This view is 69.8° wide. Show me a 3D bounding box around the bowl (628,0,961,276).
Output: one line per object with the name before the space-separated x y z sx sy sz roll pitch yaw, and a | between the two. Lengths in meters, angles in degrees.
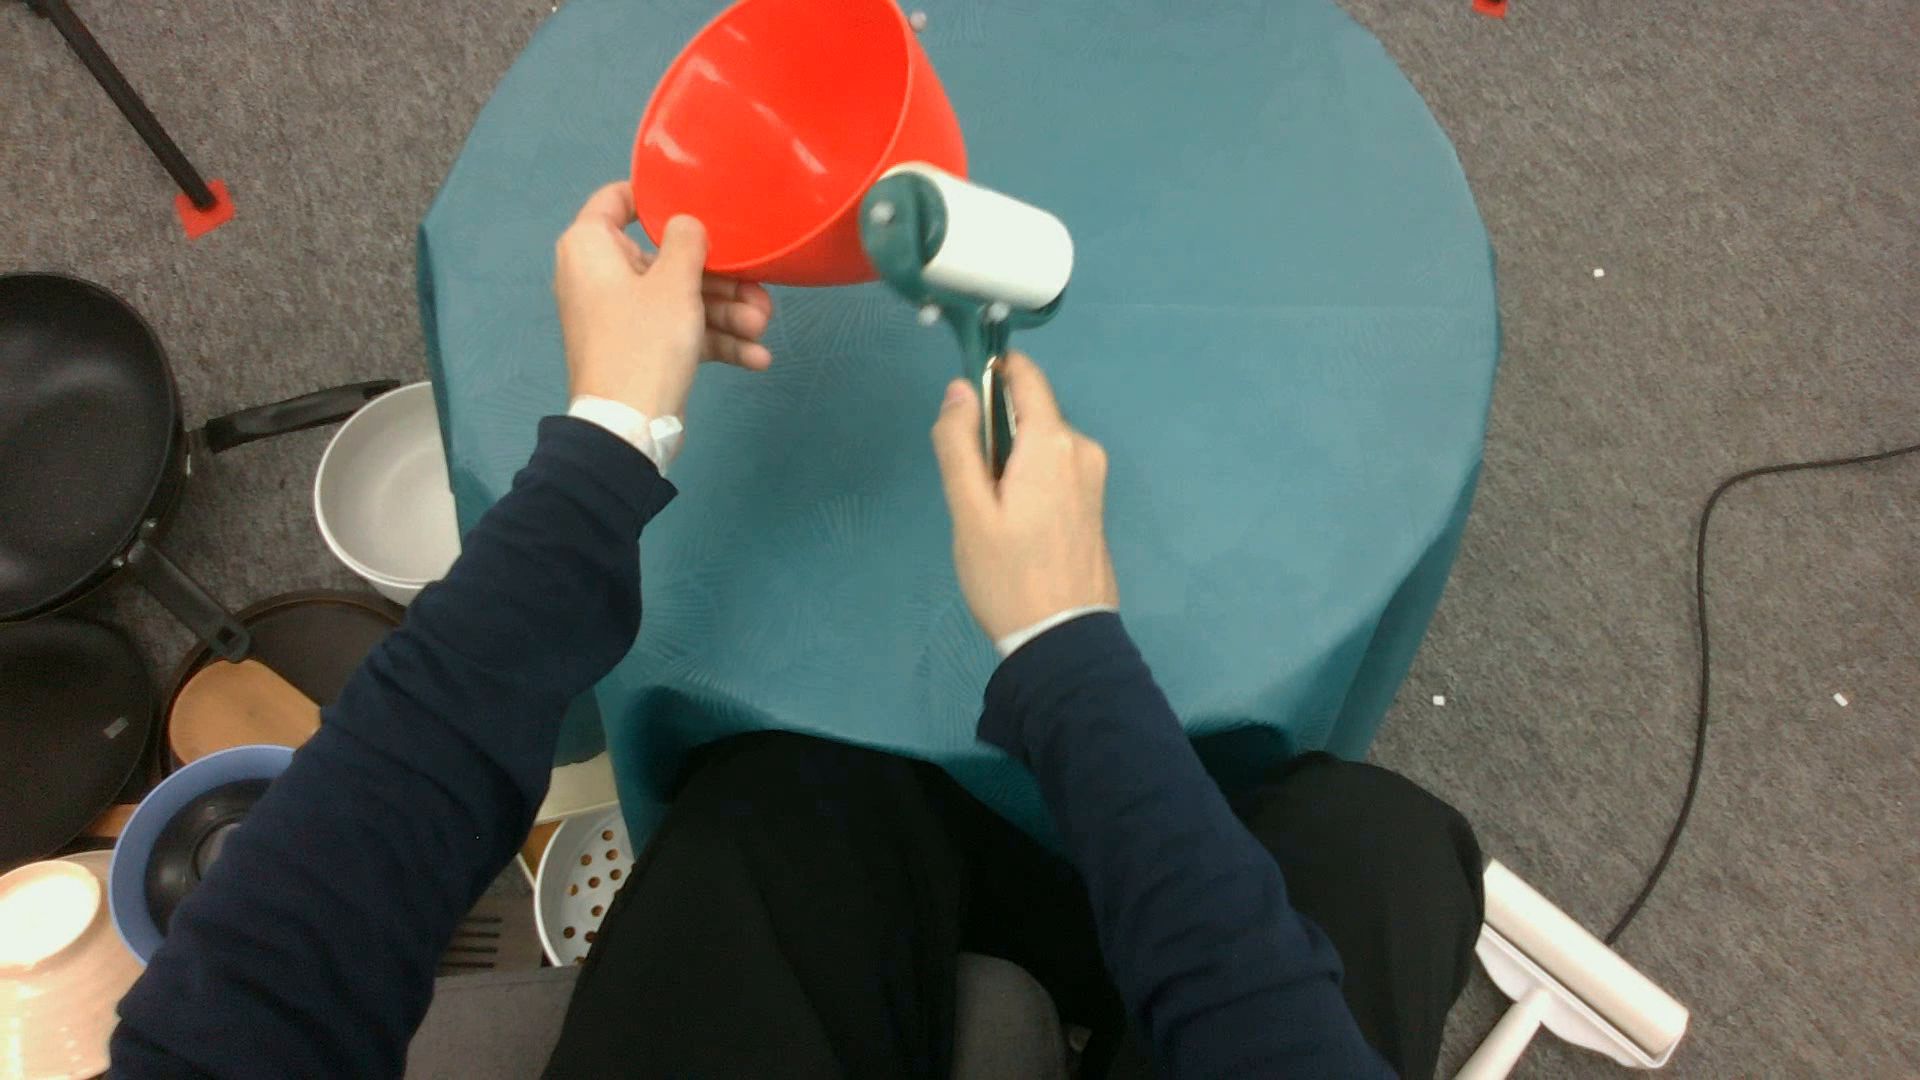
bowl | -0.064 -0.178 0.635 0.147 0.104 0.148 -15 64 33

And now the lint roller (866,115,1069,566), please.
lint roller | 0.014 -0.080 0.592 0.048 0.134 0.180 -11 84 29
